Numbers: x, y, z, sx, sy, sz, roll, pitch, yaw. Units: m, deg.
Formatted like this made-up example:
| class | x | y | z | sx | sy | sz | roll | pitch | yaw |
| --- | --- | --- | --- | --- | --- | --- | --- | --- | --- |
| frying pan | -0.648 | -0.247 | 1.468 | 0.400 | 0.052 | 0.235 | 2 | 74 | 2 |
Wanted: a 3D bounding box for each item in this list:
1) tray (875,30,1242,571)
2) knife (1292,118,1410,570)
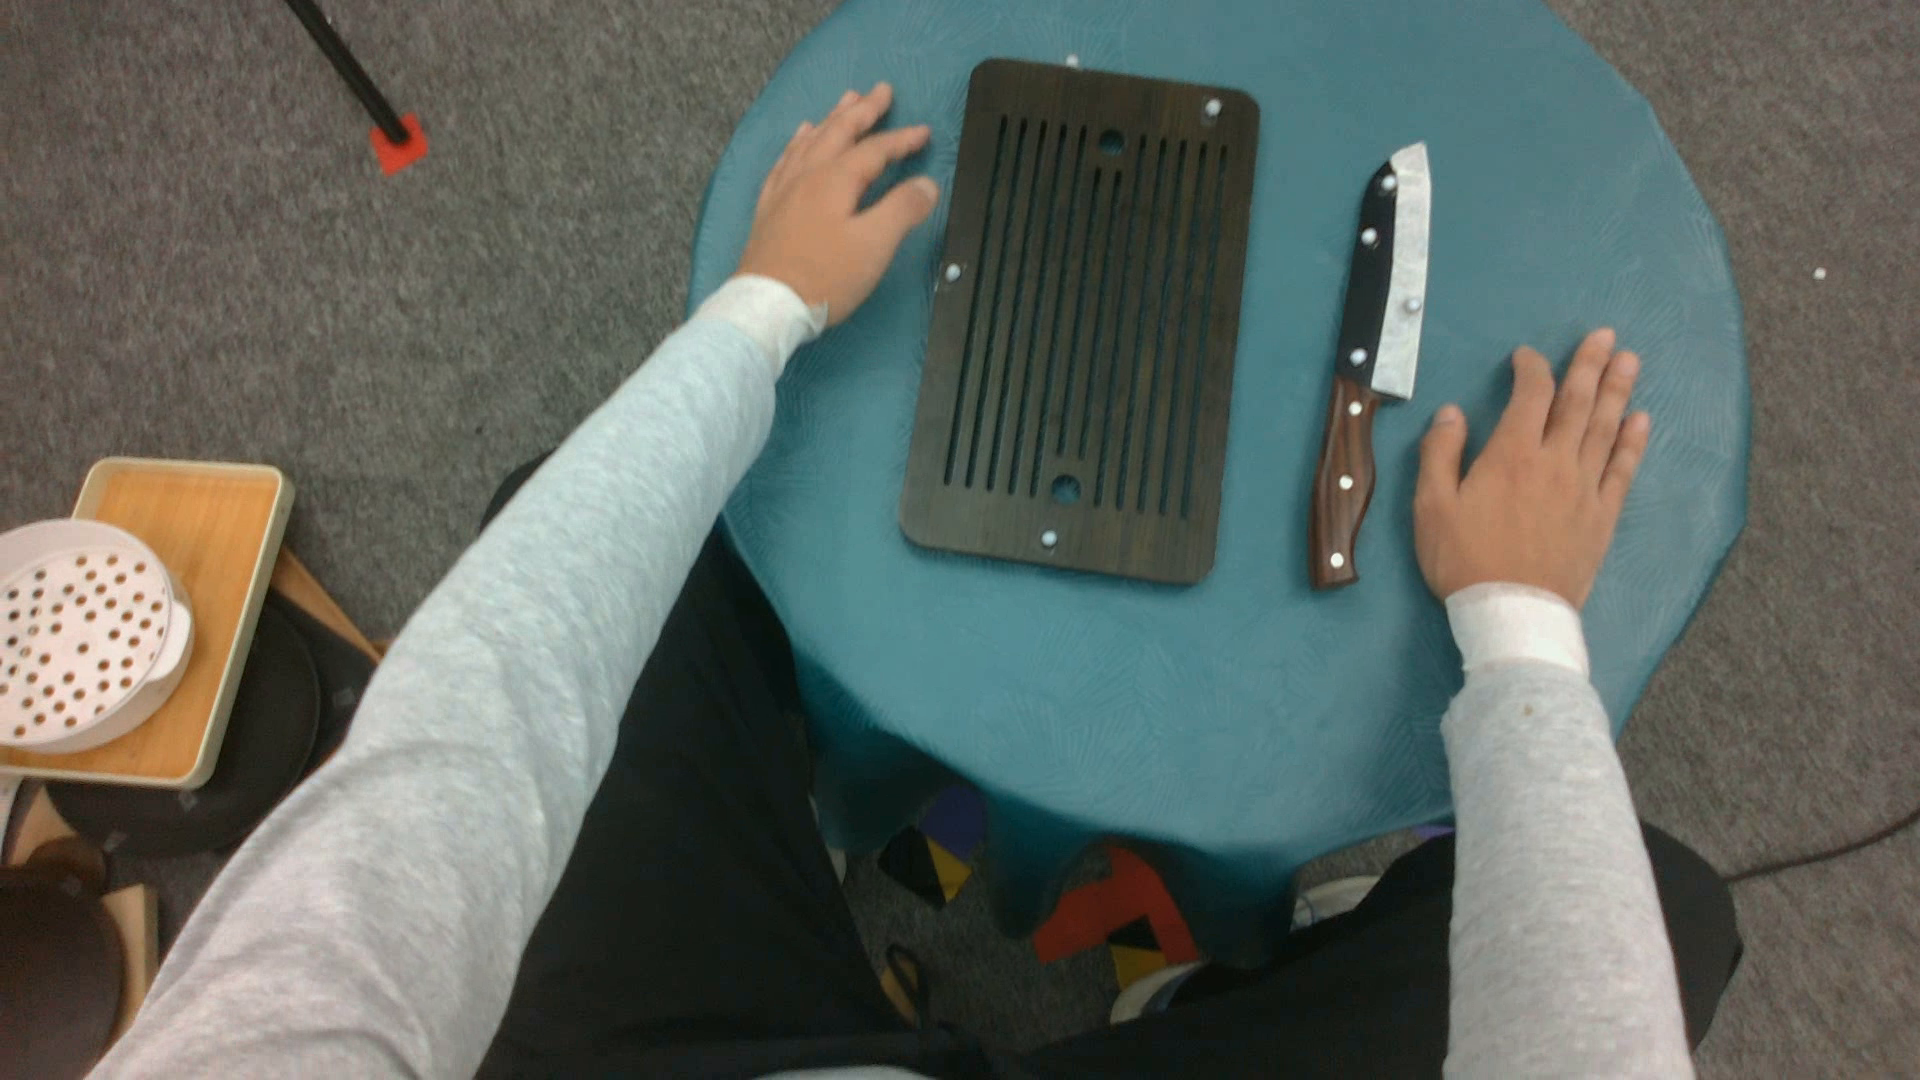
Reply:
| class | x | y | z | sx | sy | sz | roll | pitch | yaw |
| --- | --- | --- | --- | --- | --- | --- | --- | --- | --- |
| tray | 0.059 | -0.139 | 0.766 | 0.170 | 0.018 | 0.306 | 9 | 75 | 0 |
| knife | 0.220 | -0.116 | 0.766 | 0.050 | 0.020 | 0.290 | 16 | 72 | -3 |
